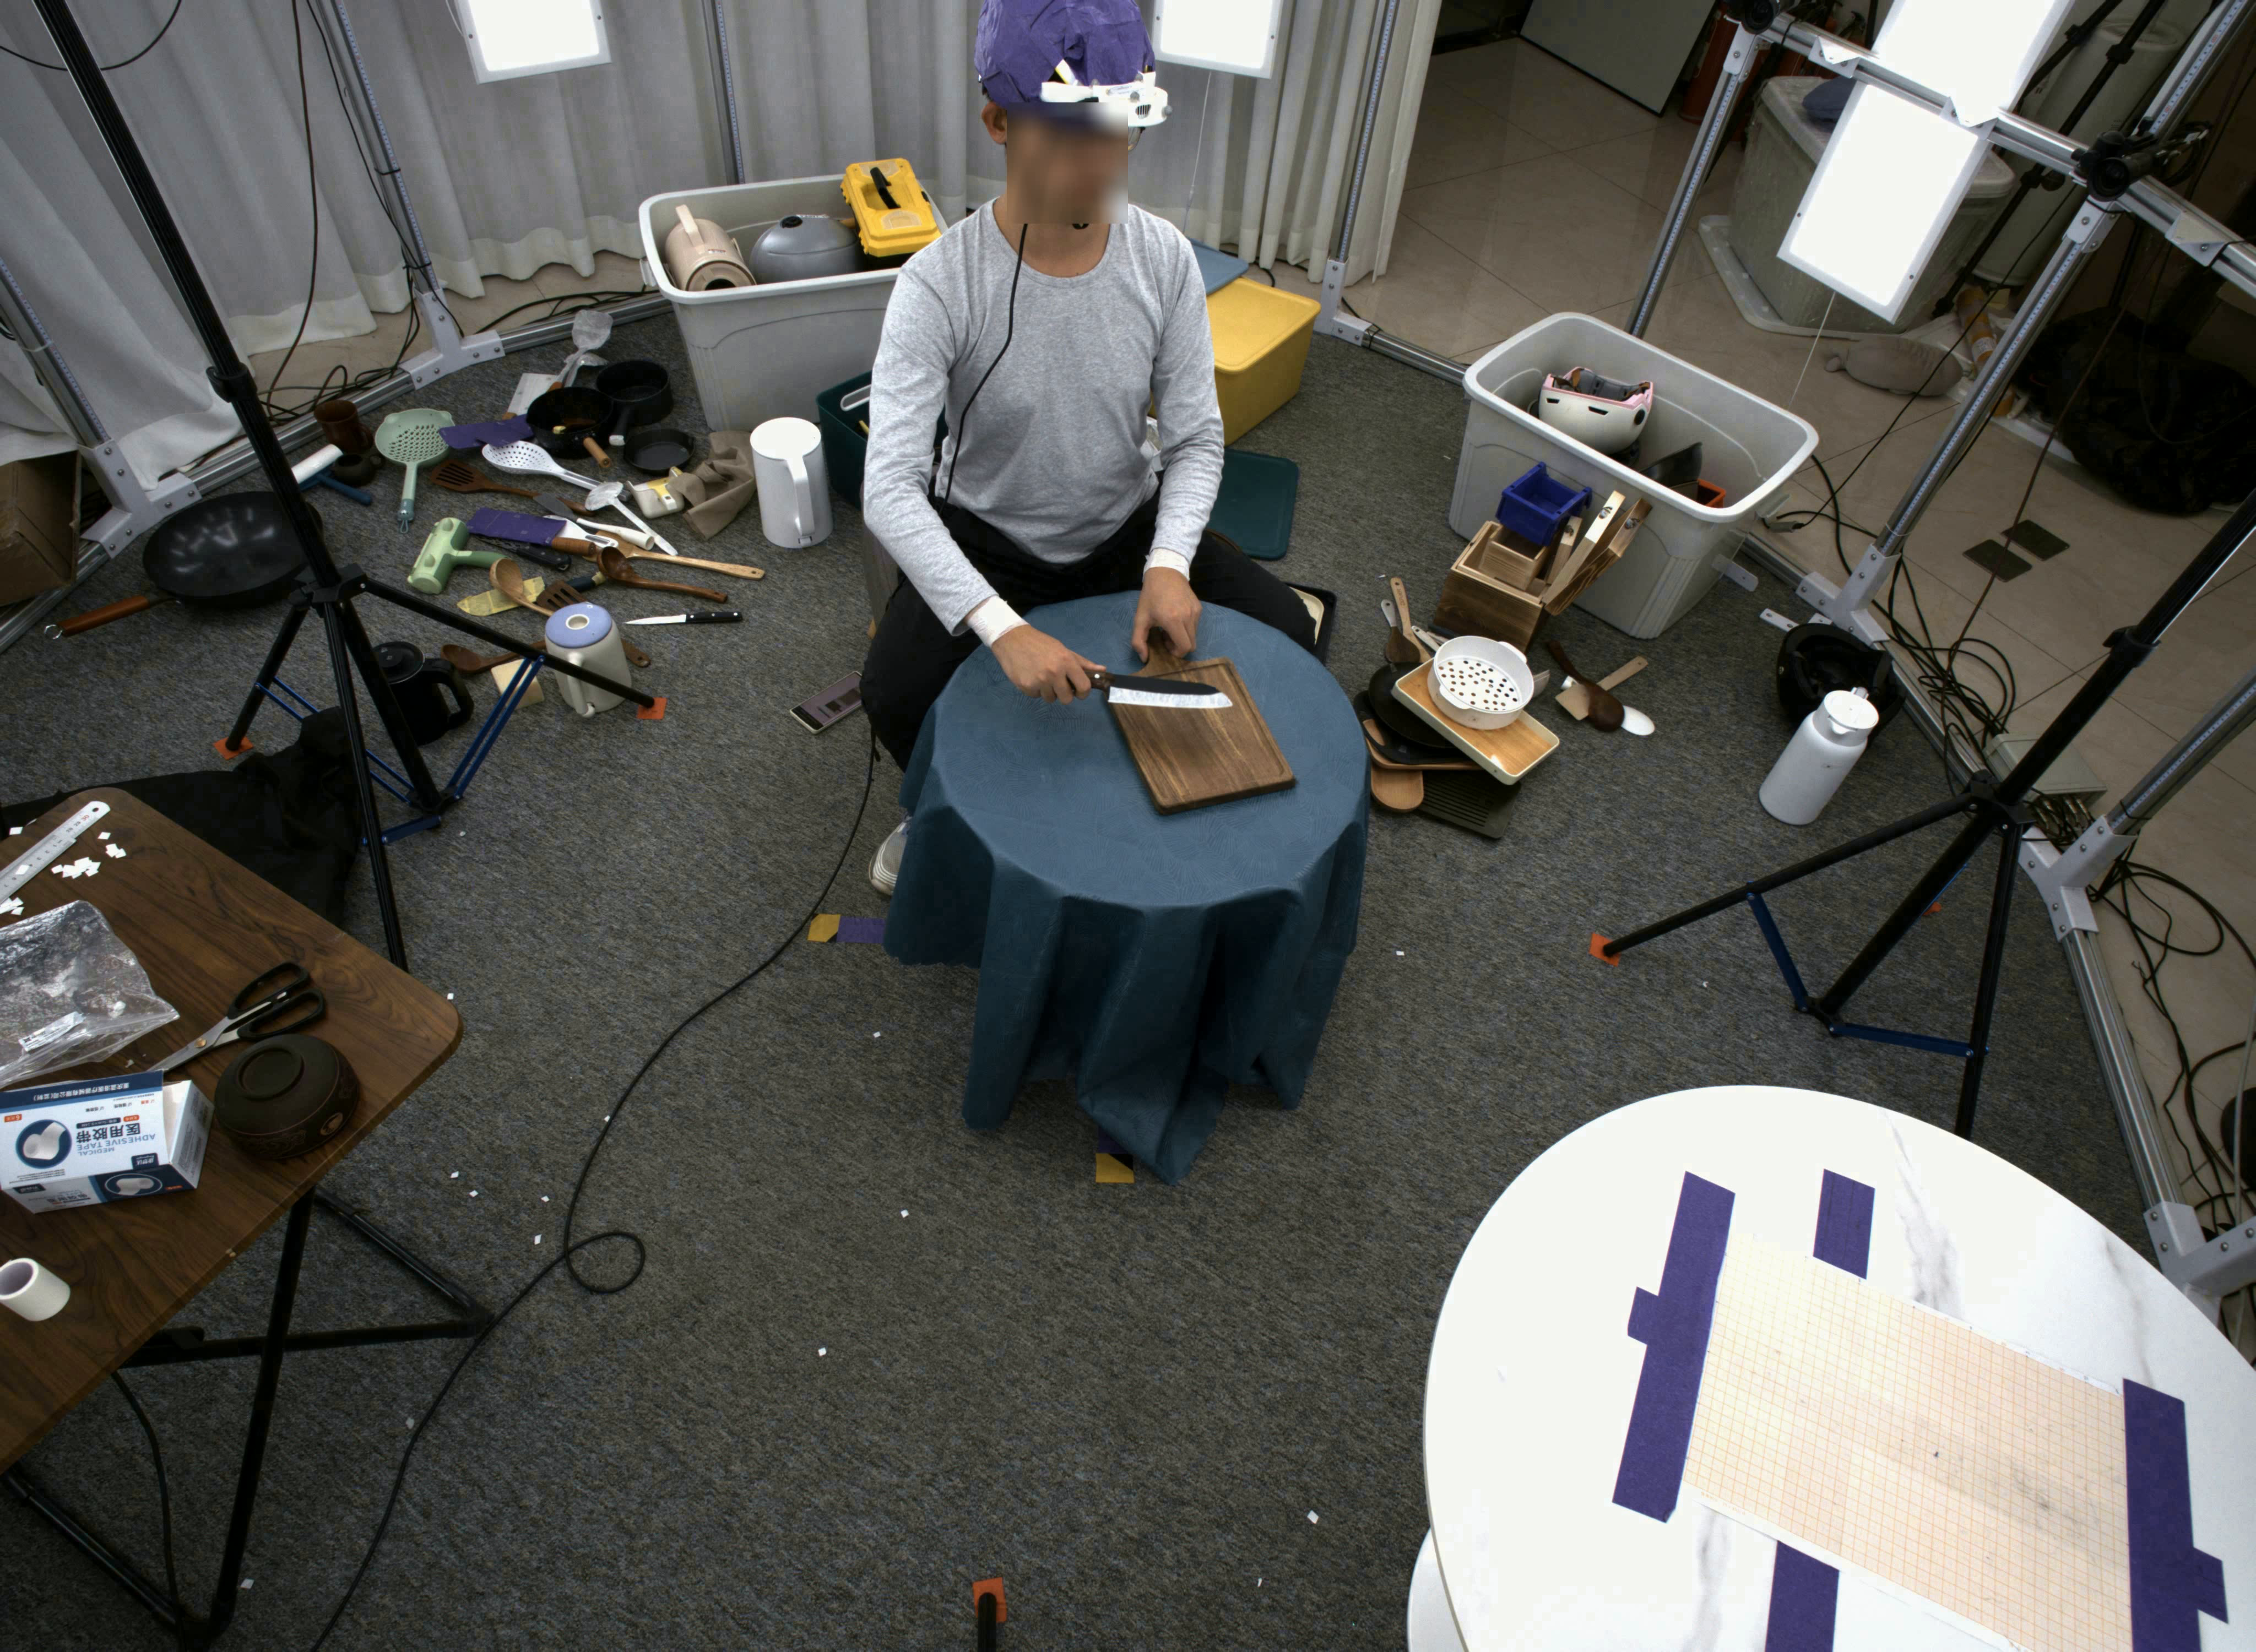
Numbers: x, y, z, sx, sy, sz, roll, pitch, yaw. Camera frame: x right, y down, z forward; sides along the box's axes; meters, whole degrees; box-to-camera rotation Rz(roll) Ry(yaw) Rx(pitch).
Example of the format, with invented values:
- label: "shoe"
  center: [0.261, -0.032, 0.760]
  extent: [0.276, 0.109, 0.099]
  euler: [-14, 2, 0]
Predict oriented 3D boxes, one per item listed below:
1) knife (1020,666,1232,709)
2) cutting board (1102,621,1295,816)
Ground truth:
- label: "knife"
  center: [-0.003, -0.185, 1.722]
  extent: [0.289, 0.019, 0.051]
  euler: [8, 65, 2]
- label: "cutting board"
  center: [0.078, -0.168, 1.805]
  extent: [0.201, 0.022, 0.361]
  euler: [-12, 51, -14]
